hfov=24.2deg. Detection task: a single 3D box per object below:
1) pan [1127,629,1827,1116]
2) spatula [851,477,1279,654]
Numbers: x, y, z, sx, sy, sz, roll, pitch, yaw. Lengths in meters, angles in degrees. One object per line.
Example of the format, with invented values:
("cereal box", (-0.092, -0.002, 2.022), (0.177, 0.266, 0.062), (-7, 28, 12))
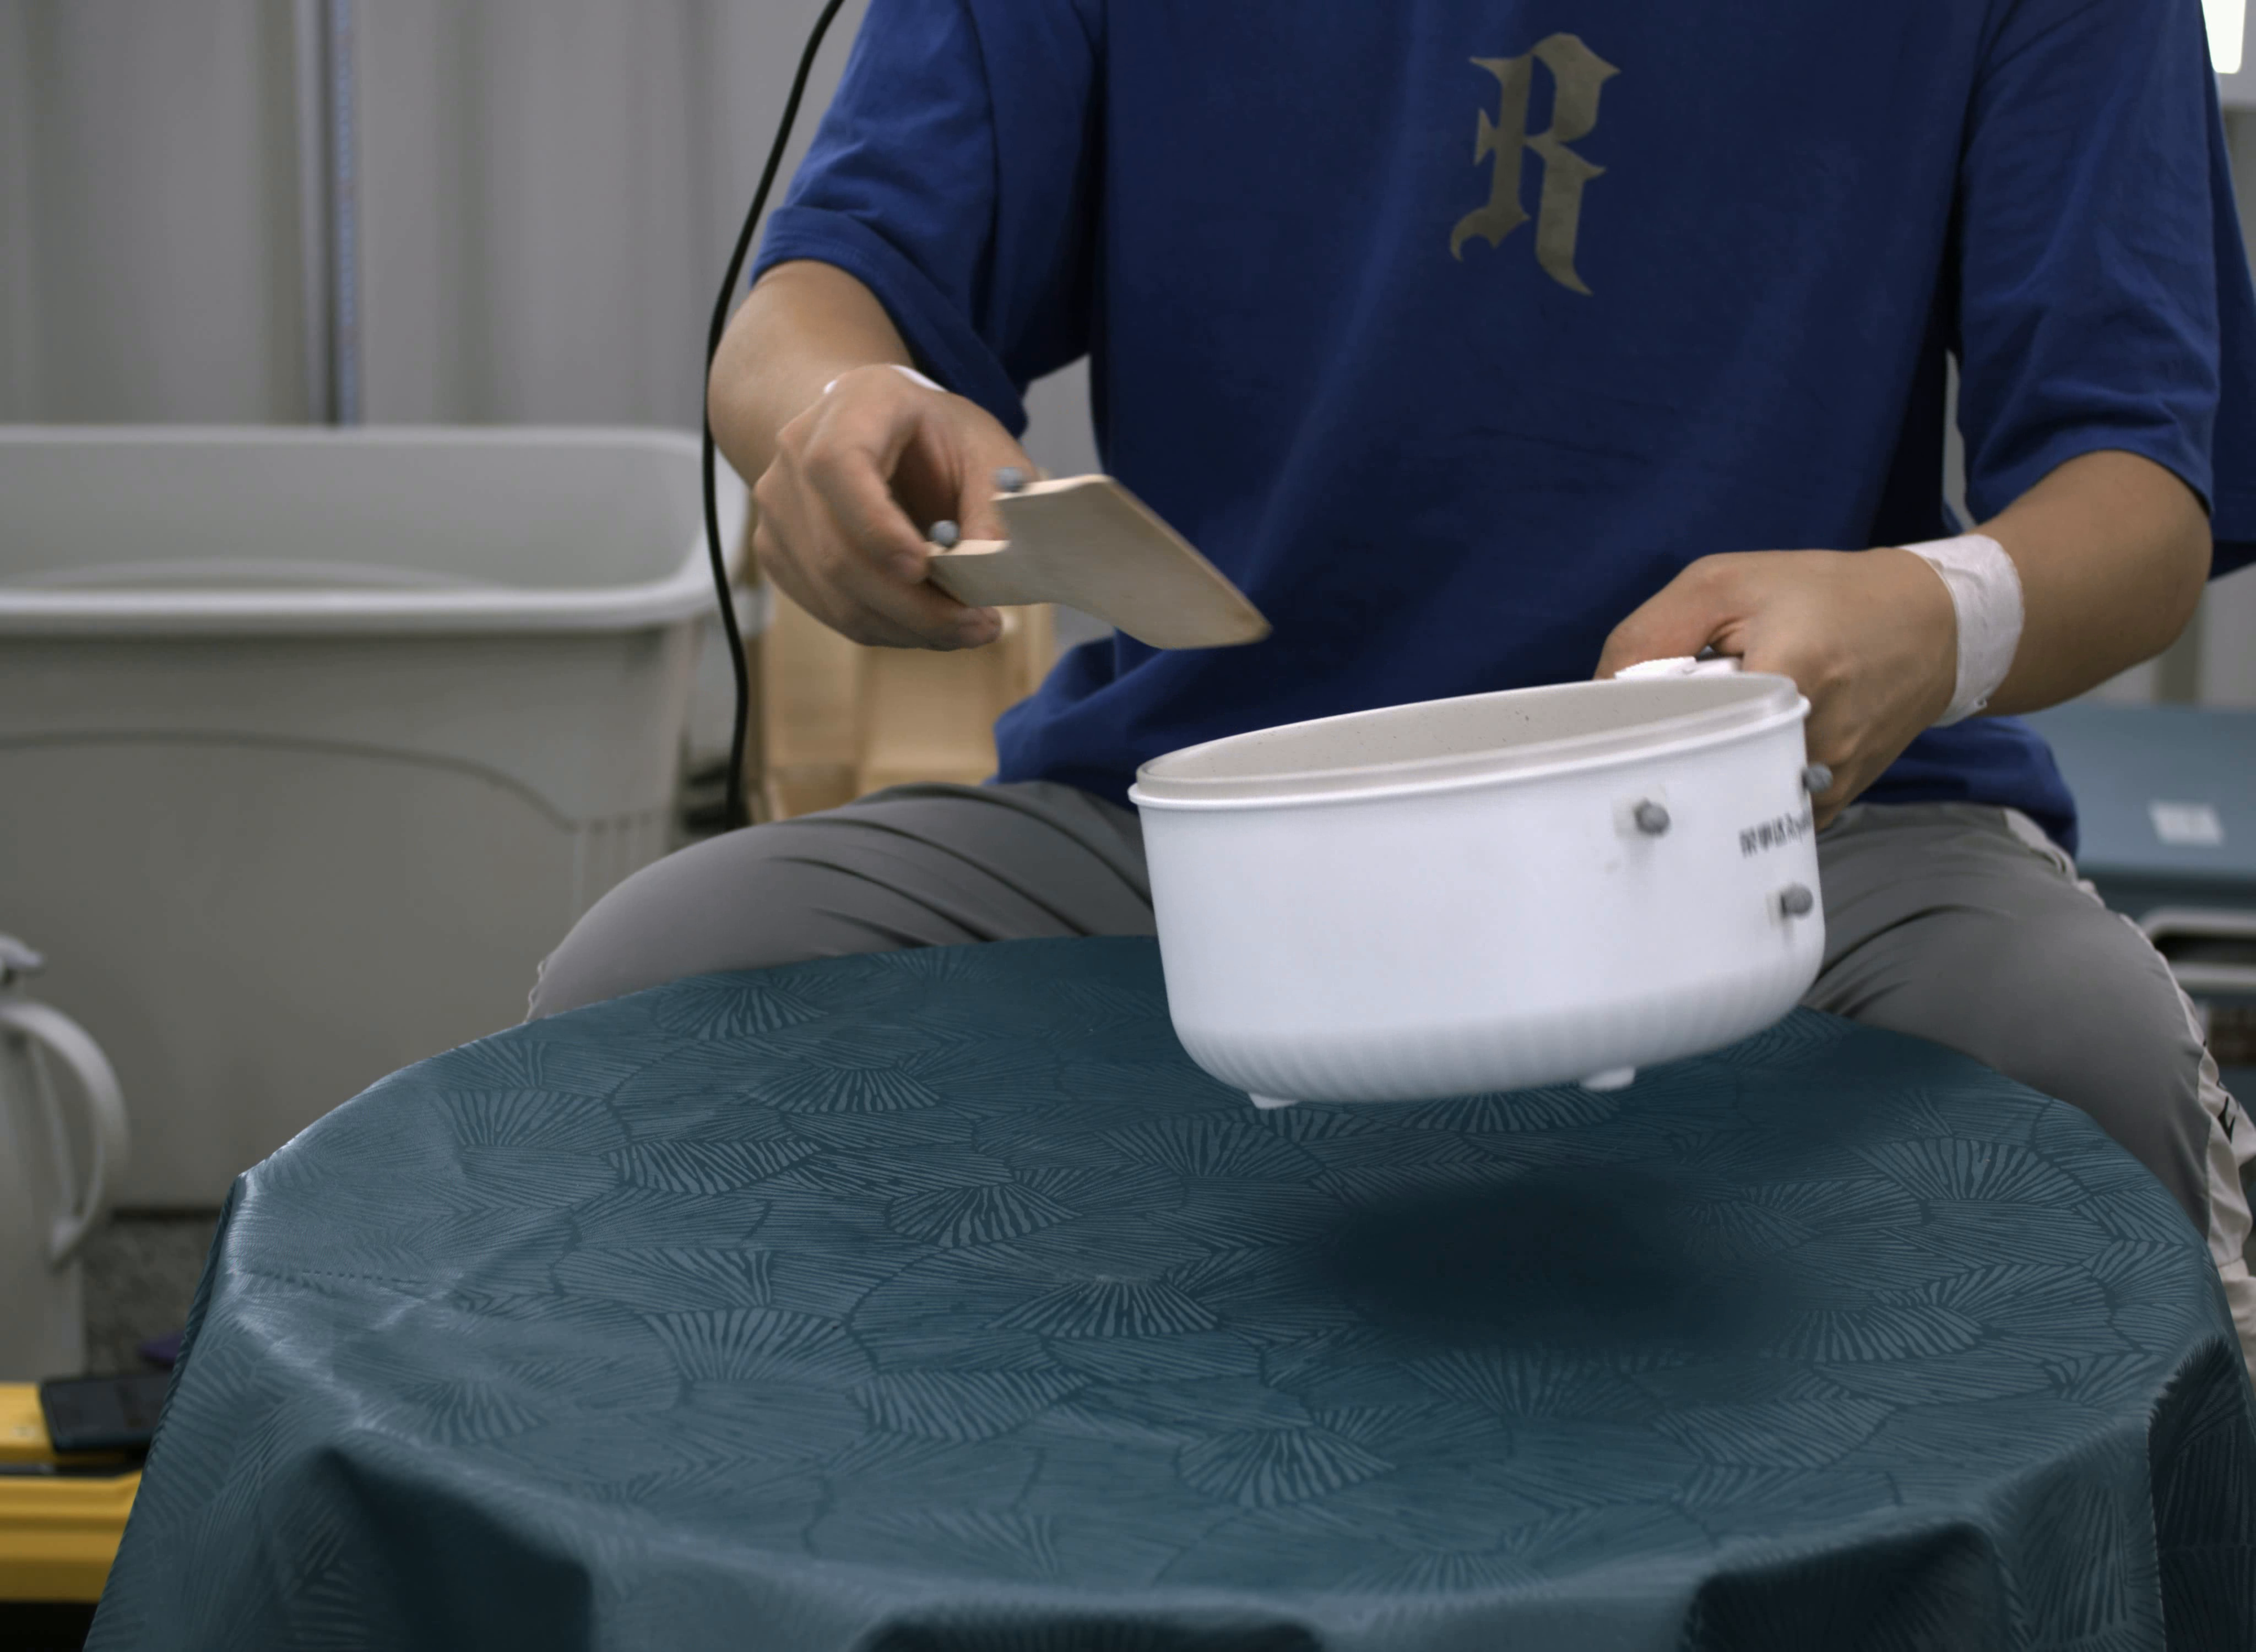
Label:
("pan", (0.139, 0.008, 1.613), (0.199, 0.102, 0.356), (-8, 5, 26))
("spatula", (-0.034, -0.080, 1.630), (0.010, 0.073, 0.290), (-51, 18, -12))
